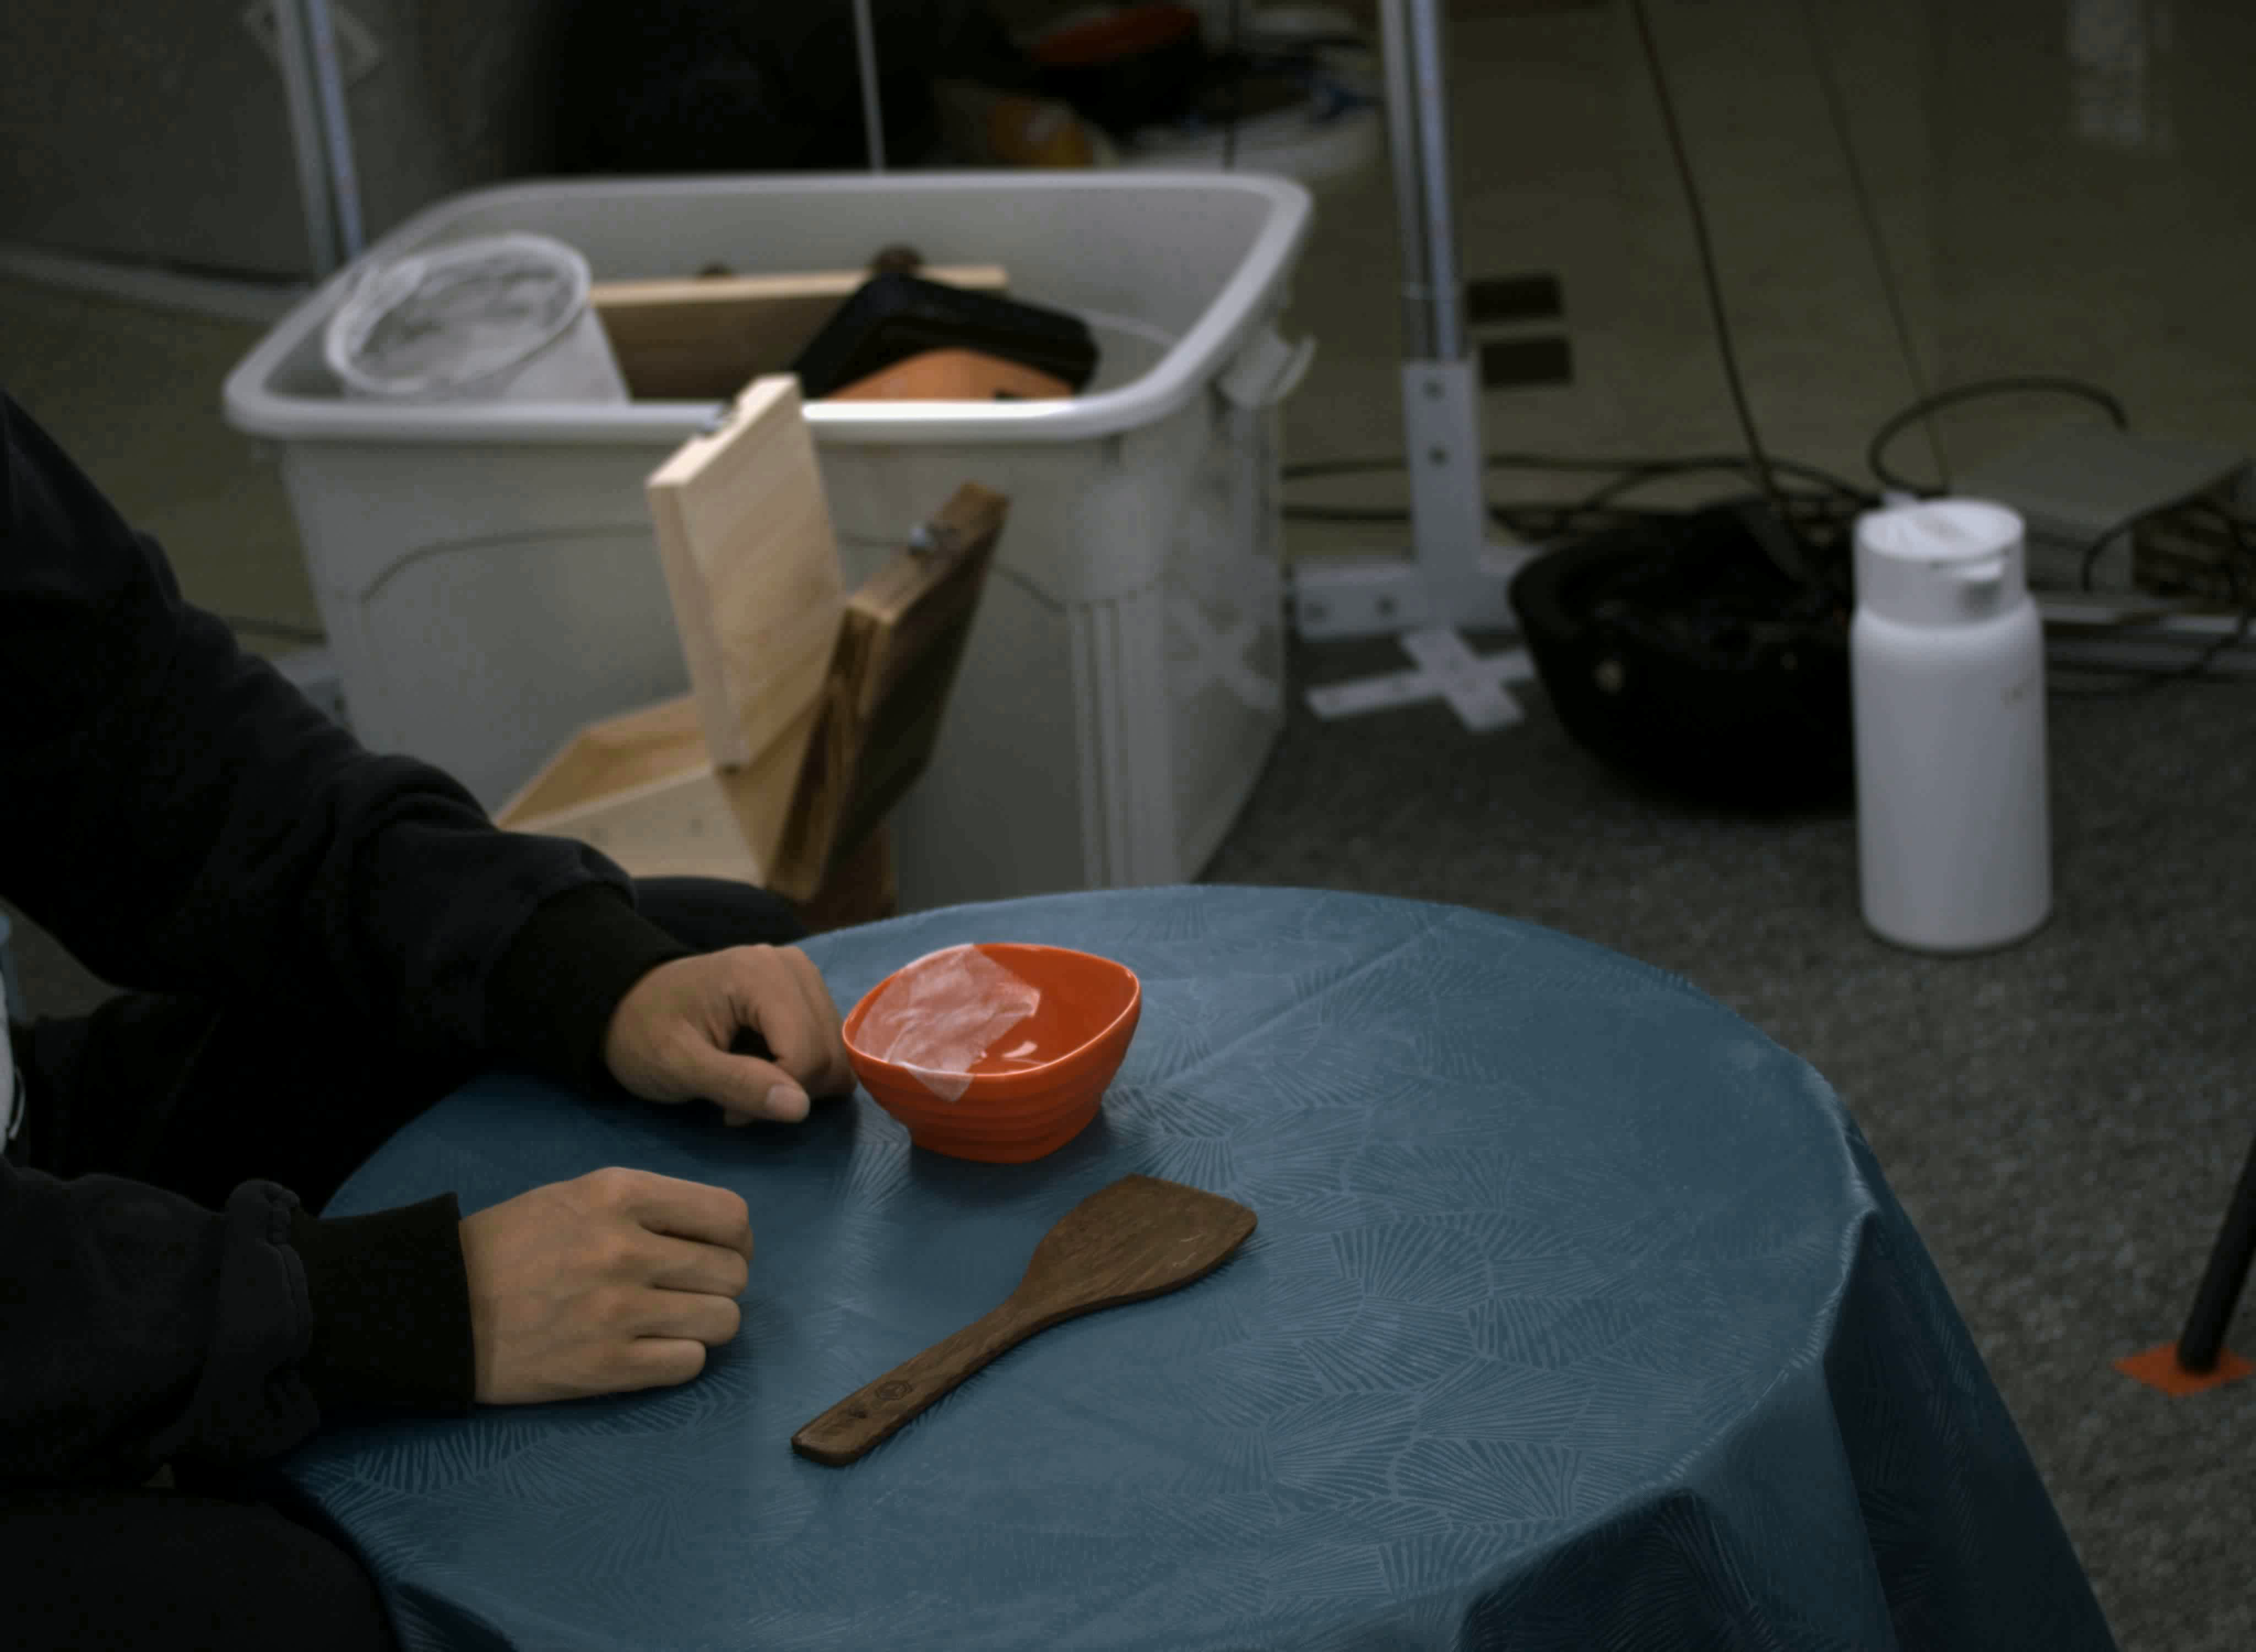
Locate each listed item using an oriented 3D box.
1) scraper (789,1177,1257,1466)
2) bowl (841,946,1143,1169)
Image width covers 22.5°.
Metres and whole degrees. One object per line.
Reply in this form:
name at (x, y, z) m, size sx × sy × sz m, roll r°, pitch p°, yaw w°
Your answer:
scraper at (-0.043, 0.181, 2.063) m, size 0.075 × 0.011 × 0.209 m, roll 16°, pitch 34°, yaw 40°
bowl at (-0.051, 0.094, 2.203) m, size 0.119 × 0.052 × 0.117 m, roll -5°, pitch 26°, yaw 2°
